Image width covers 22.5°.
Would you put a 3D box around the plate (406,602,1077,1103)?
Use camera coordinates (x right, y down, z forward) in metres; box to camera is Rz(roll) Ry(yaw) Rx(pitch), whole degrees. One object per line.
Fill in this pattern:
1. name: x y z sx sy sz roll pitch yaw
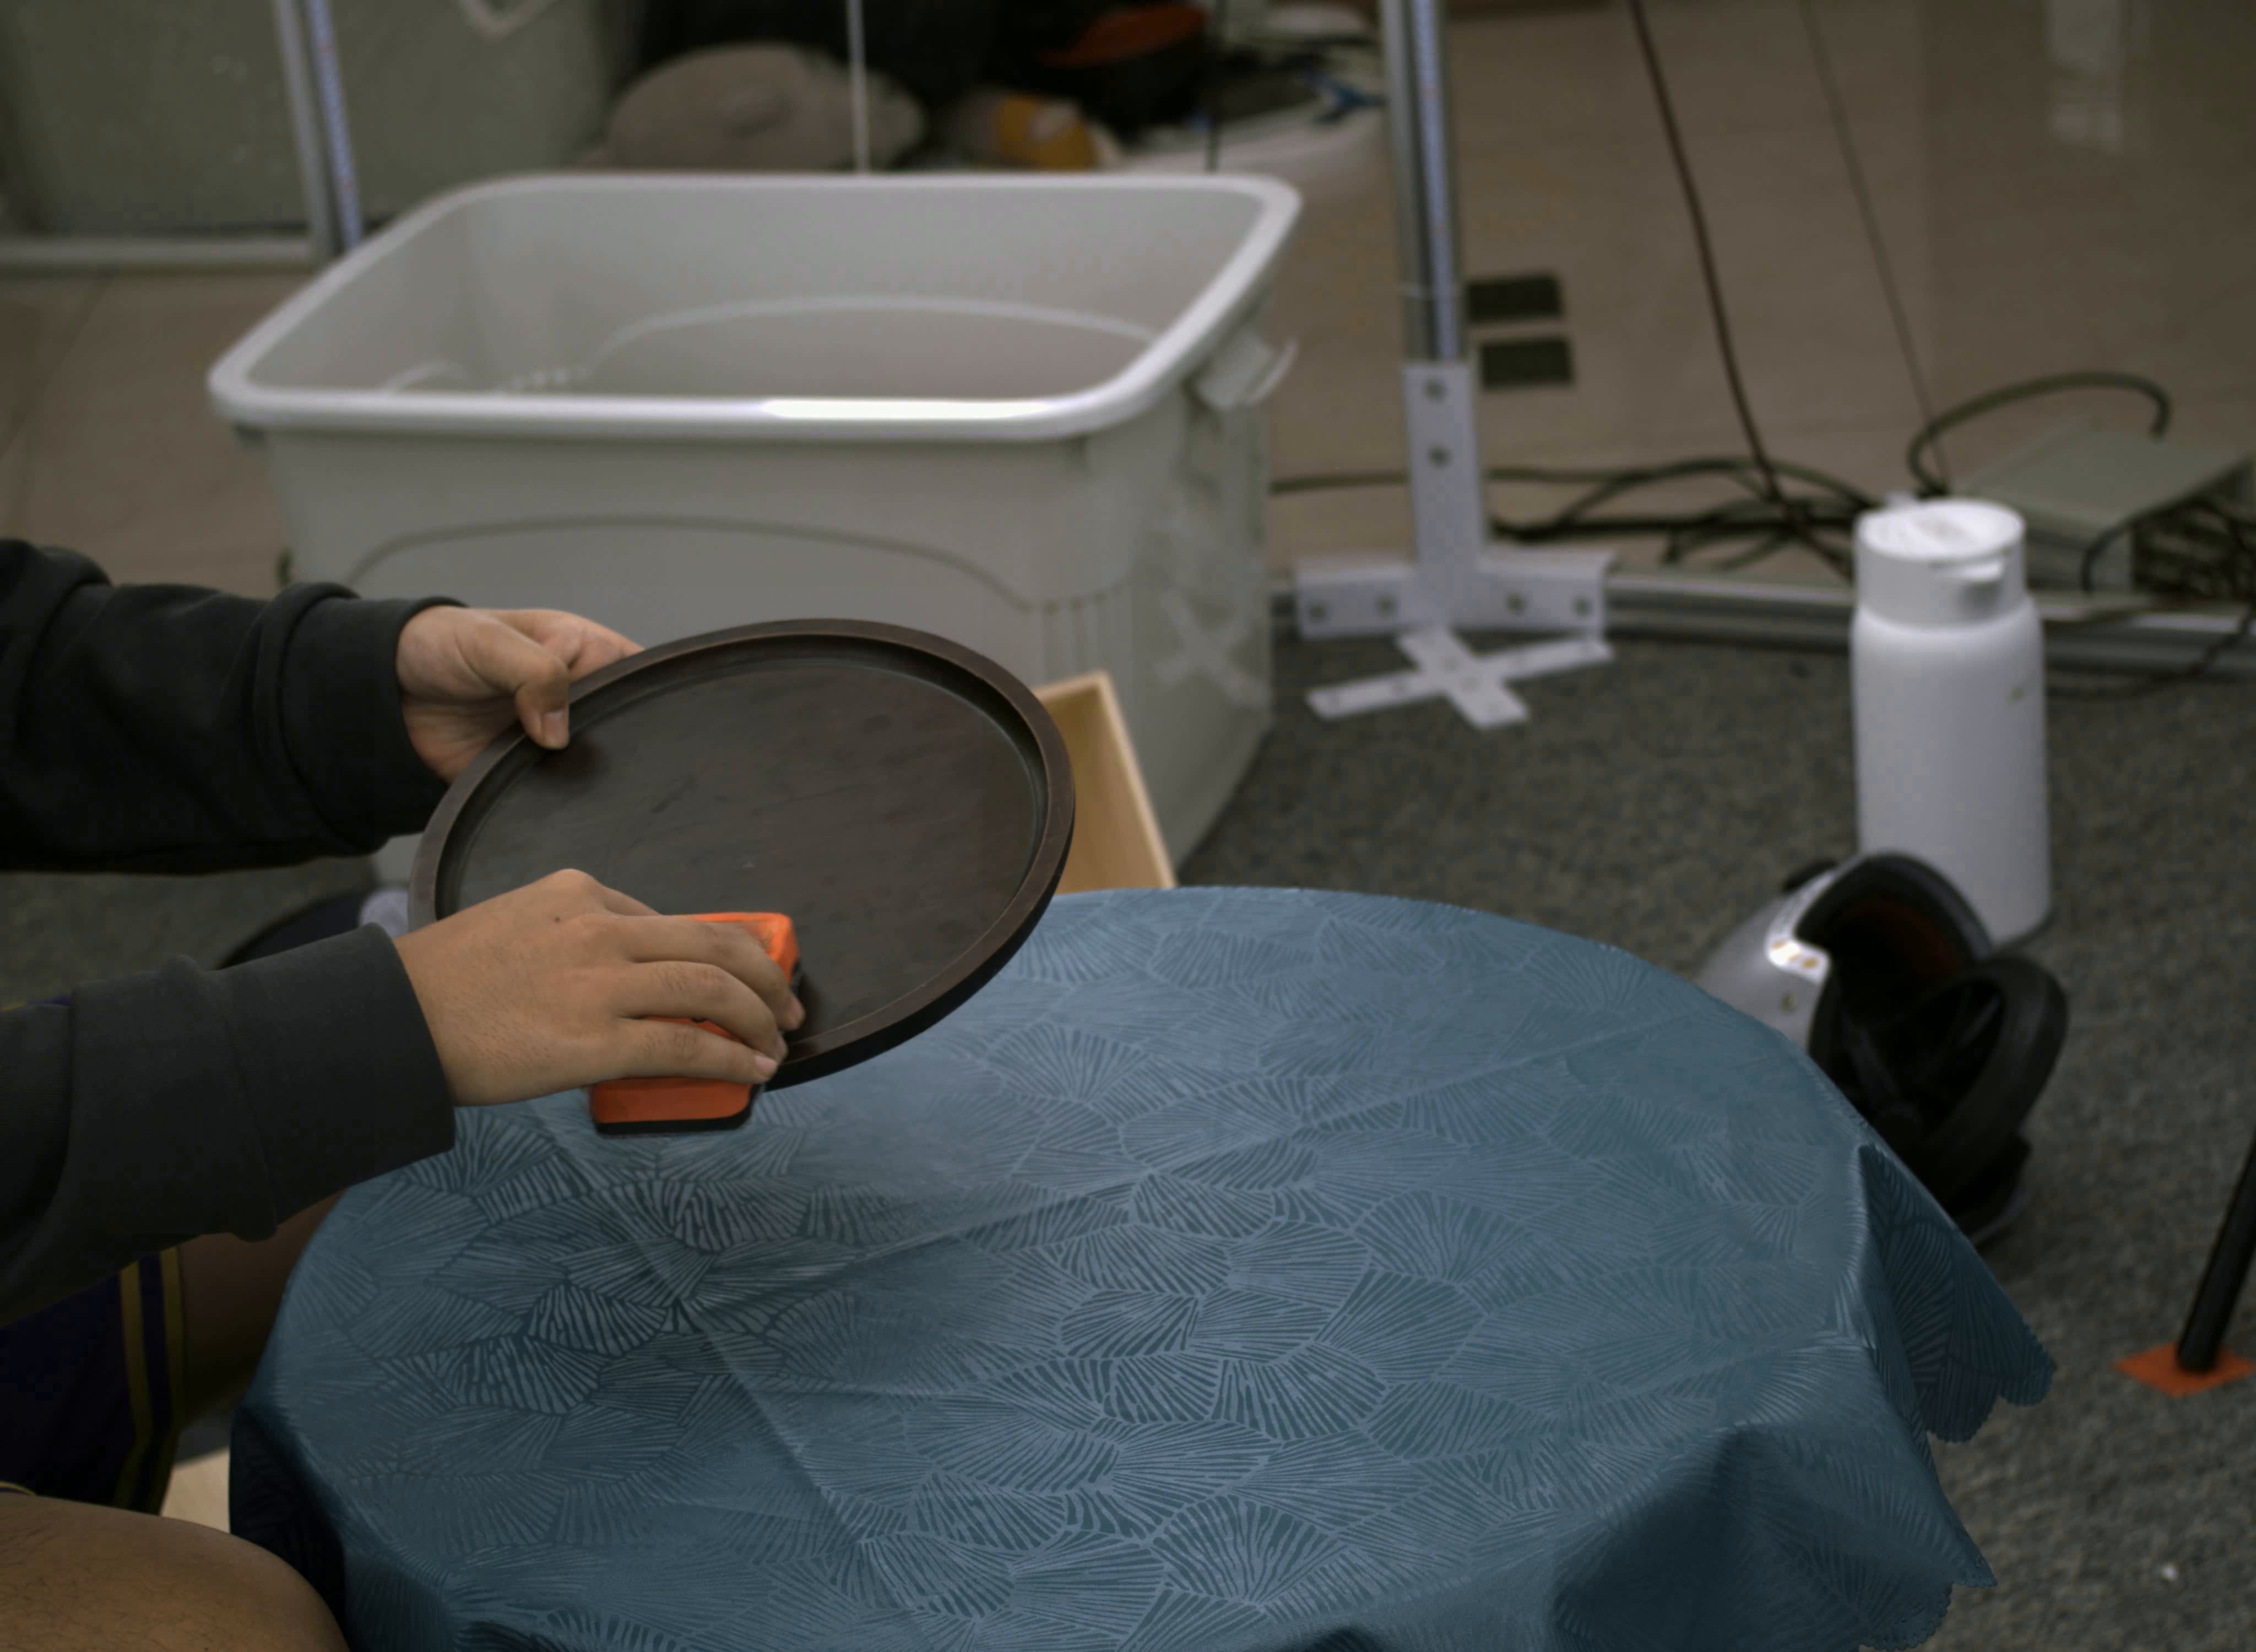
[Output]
1. plate: -0.142 0.012 2.097 0.254 0.029 0.250 -7 44 7

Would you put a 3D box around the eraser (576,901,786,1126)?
1. eraser: -0.157 0.065 2.006 0.059 0.023 0.106 0 35 9
